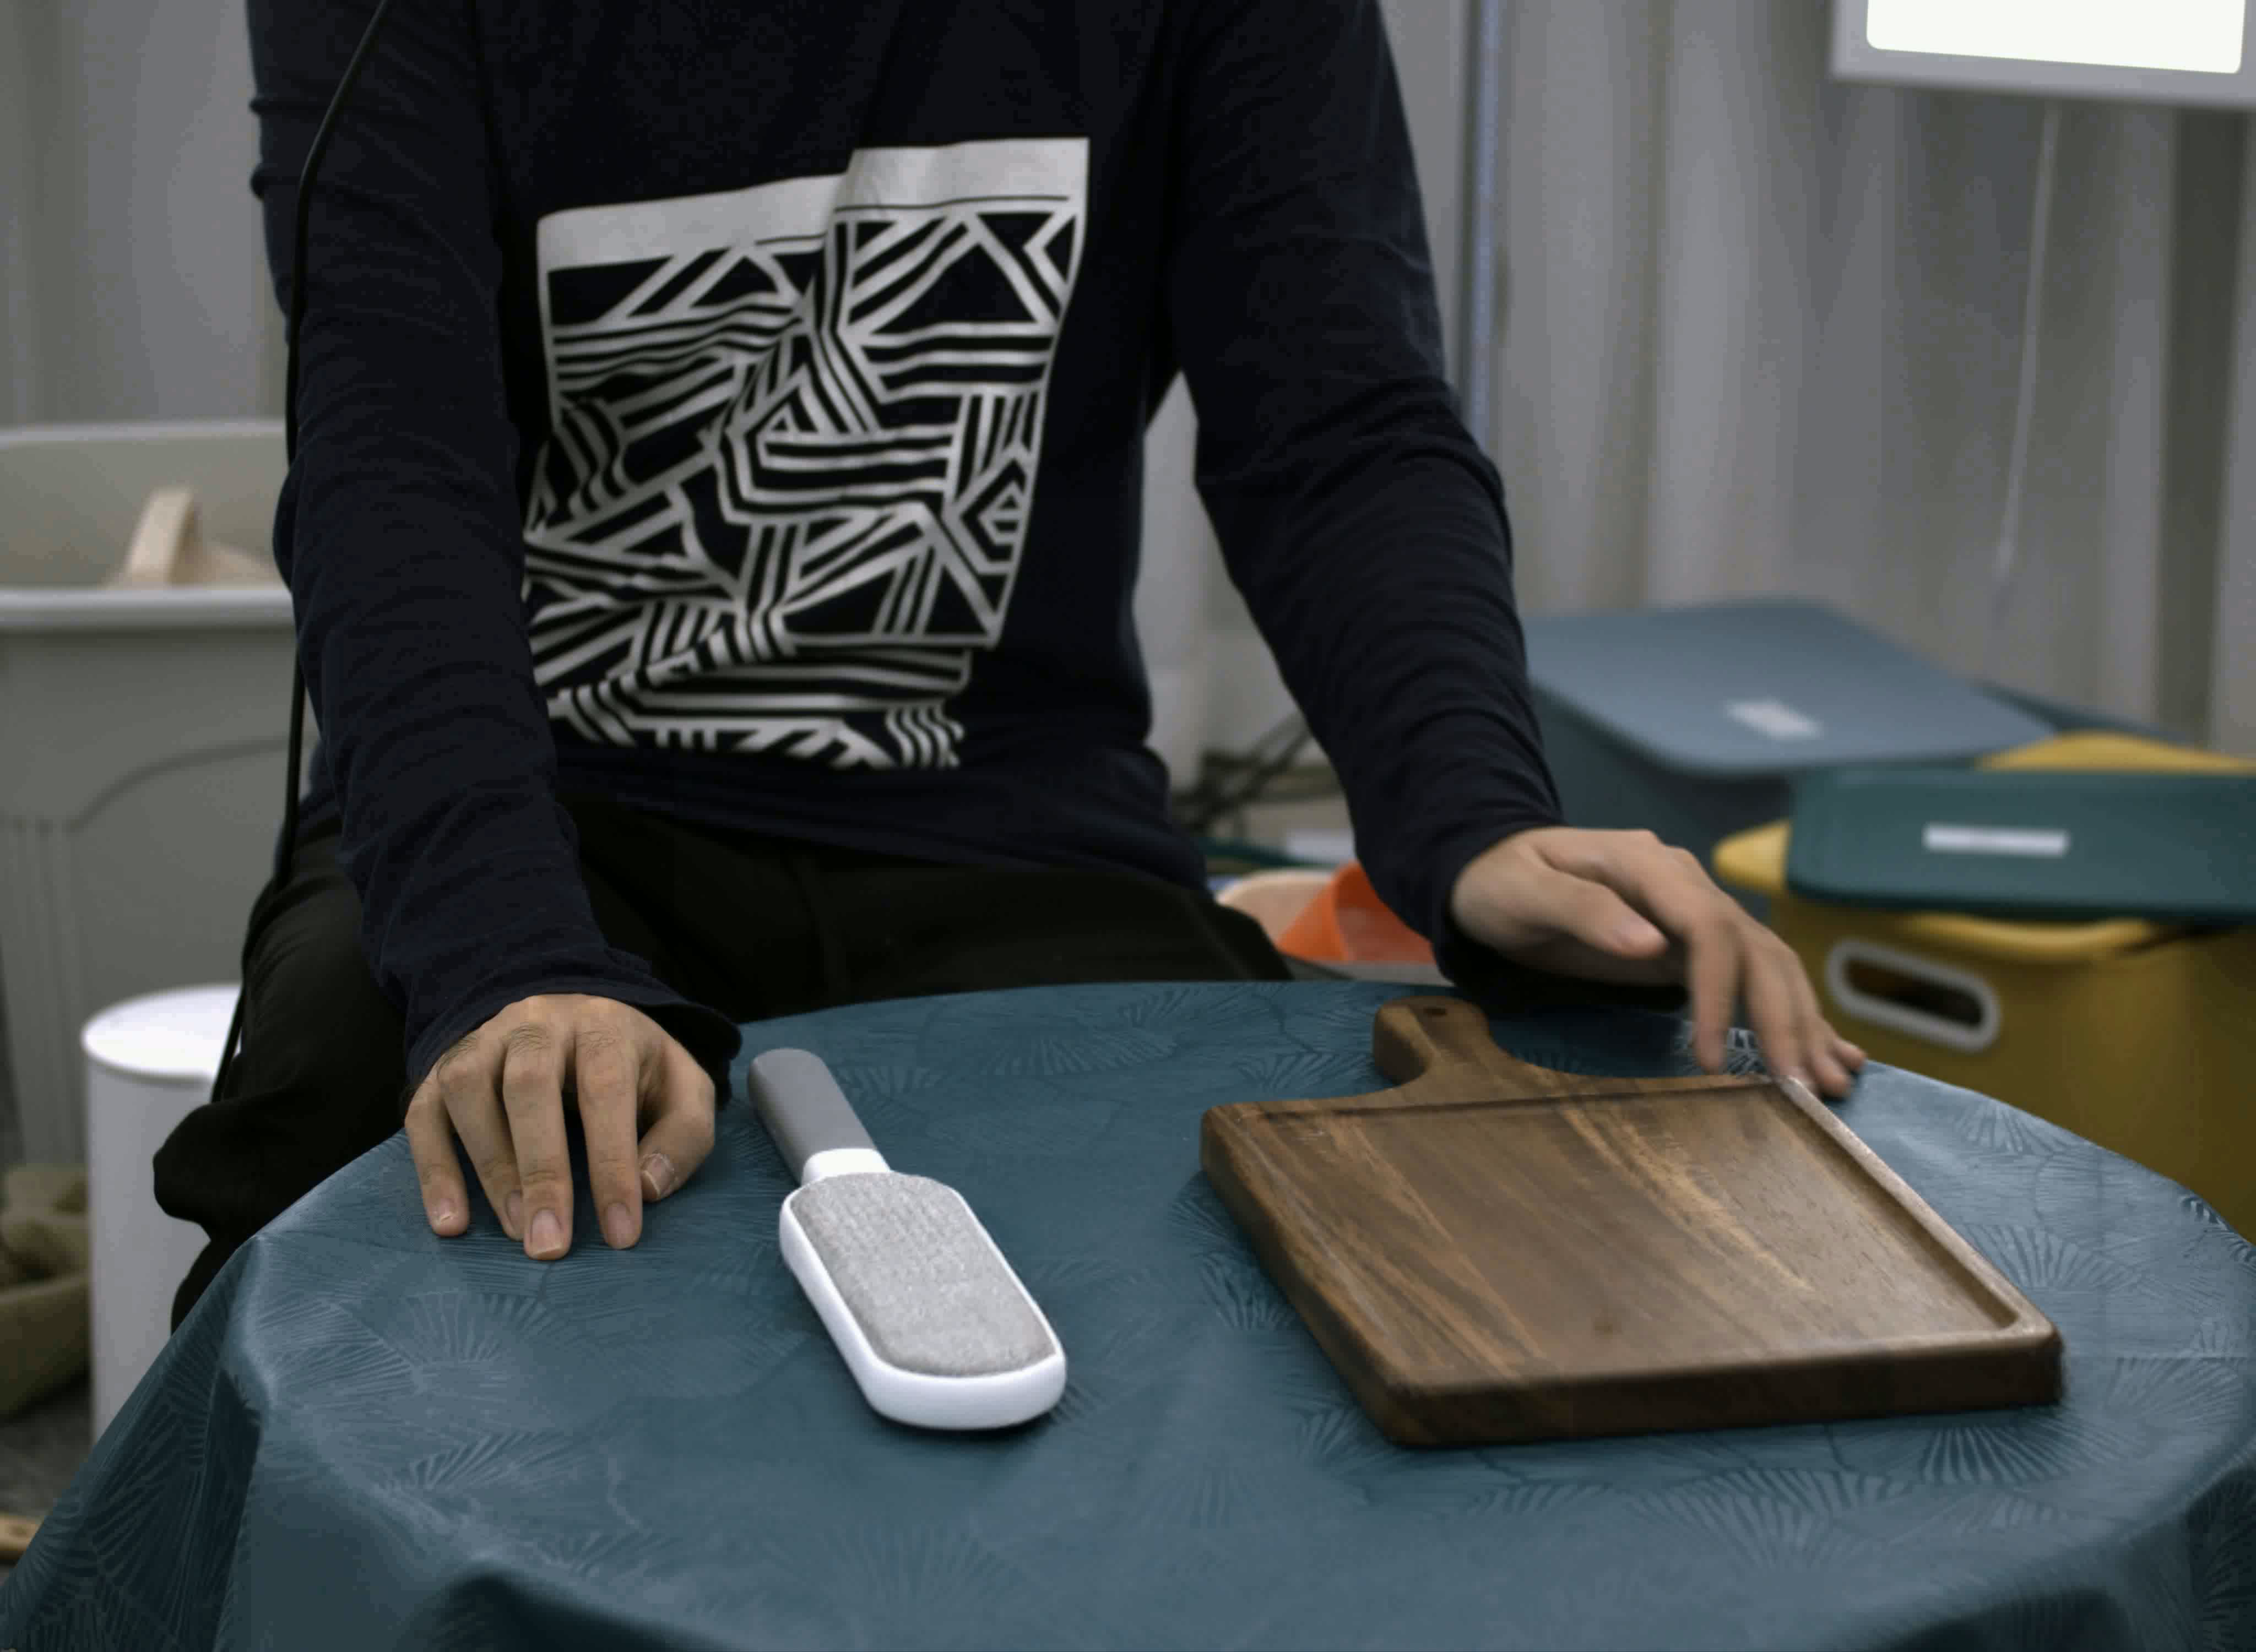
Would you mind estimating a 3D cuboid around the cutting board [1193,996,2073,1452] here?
[{"bbox_3d":[0.131,0.111,1.599,0.201,0.023,0.349,-3,15,-12],"label":"cutting board"}]

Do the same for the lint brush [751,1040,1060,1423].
[{"bbox_3d":[-0.074,0.115,1.562,0.060,0.021,0.306,-9,17,-12],"label":"lint brush"}]
